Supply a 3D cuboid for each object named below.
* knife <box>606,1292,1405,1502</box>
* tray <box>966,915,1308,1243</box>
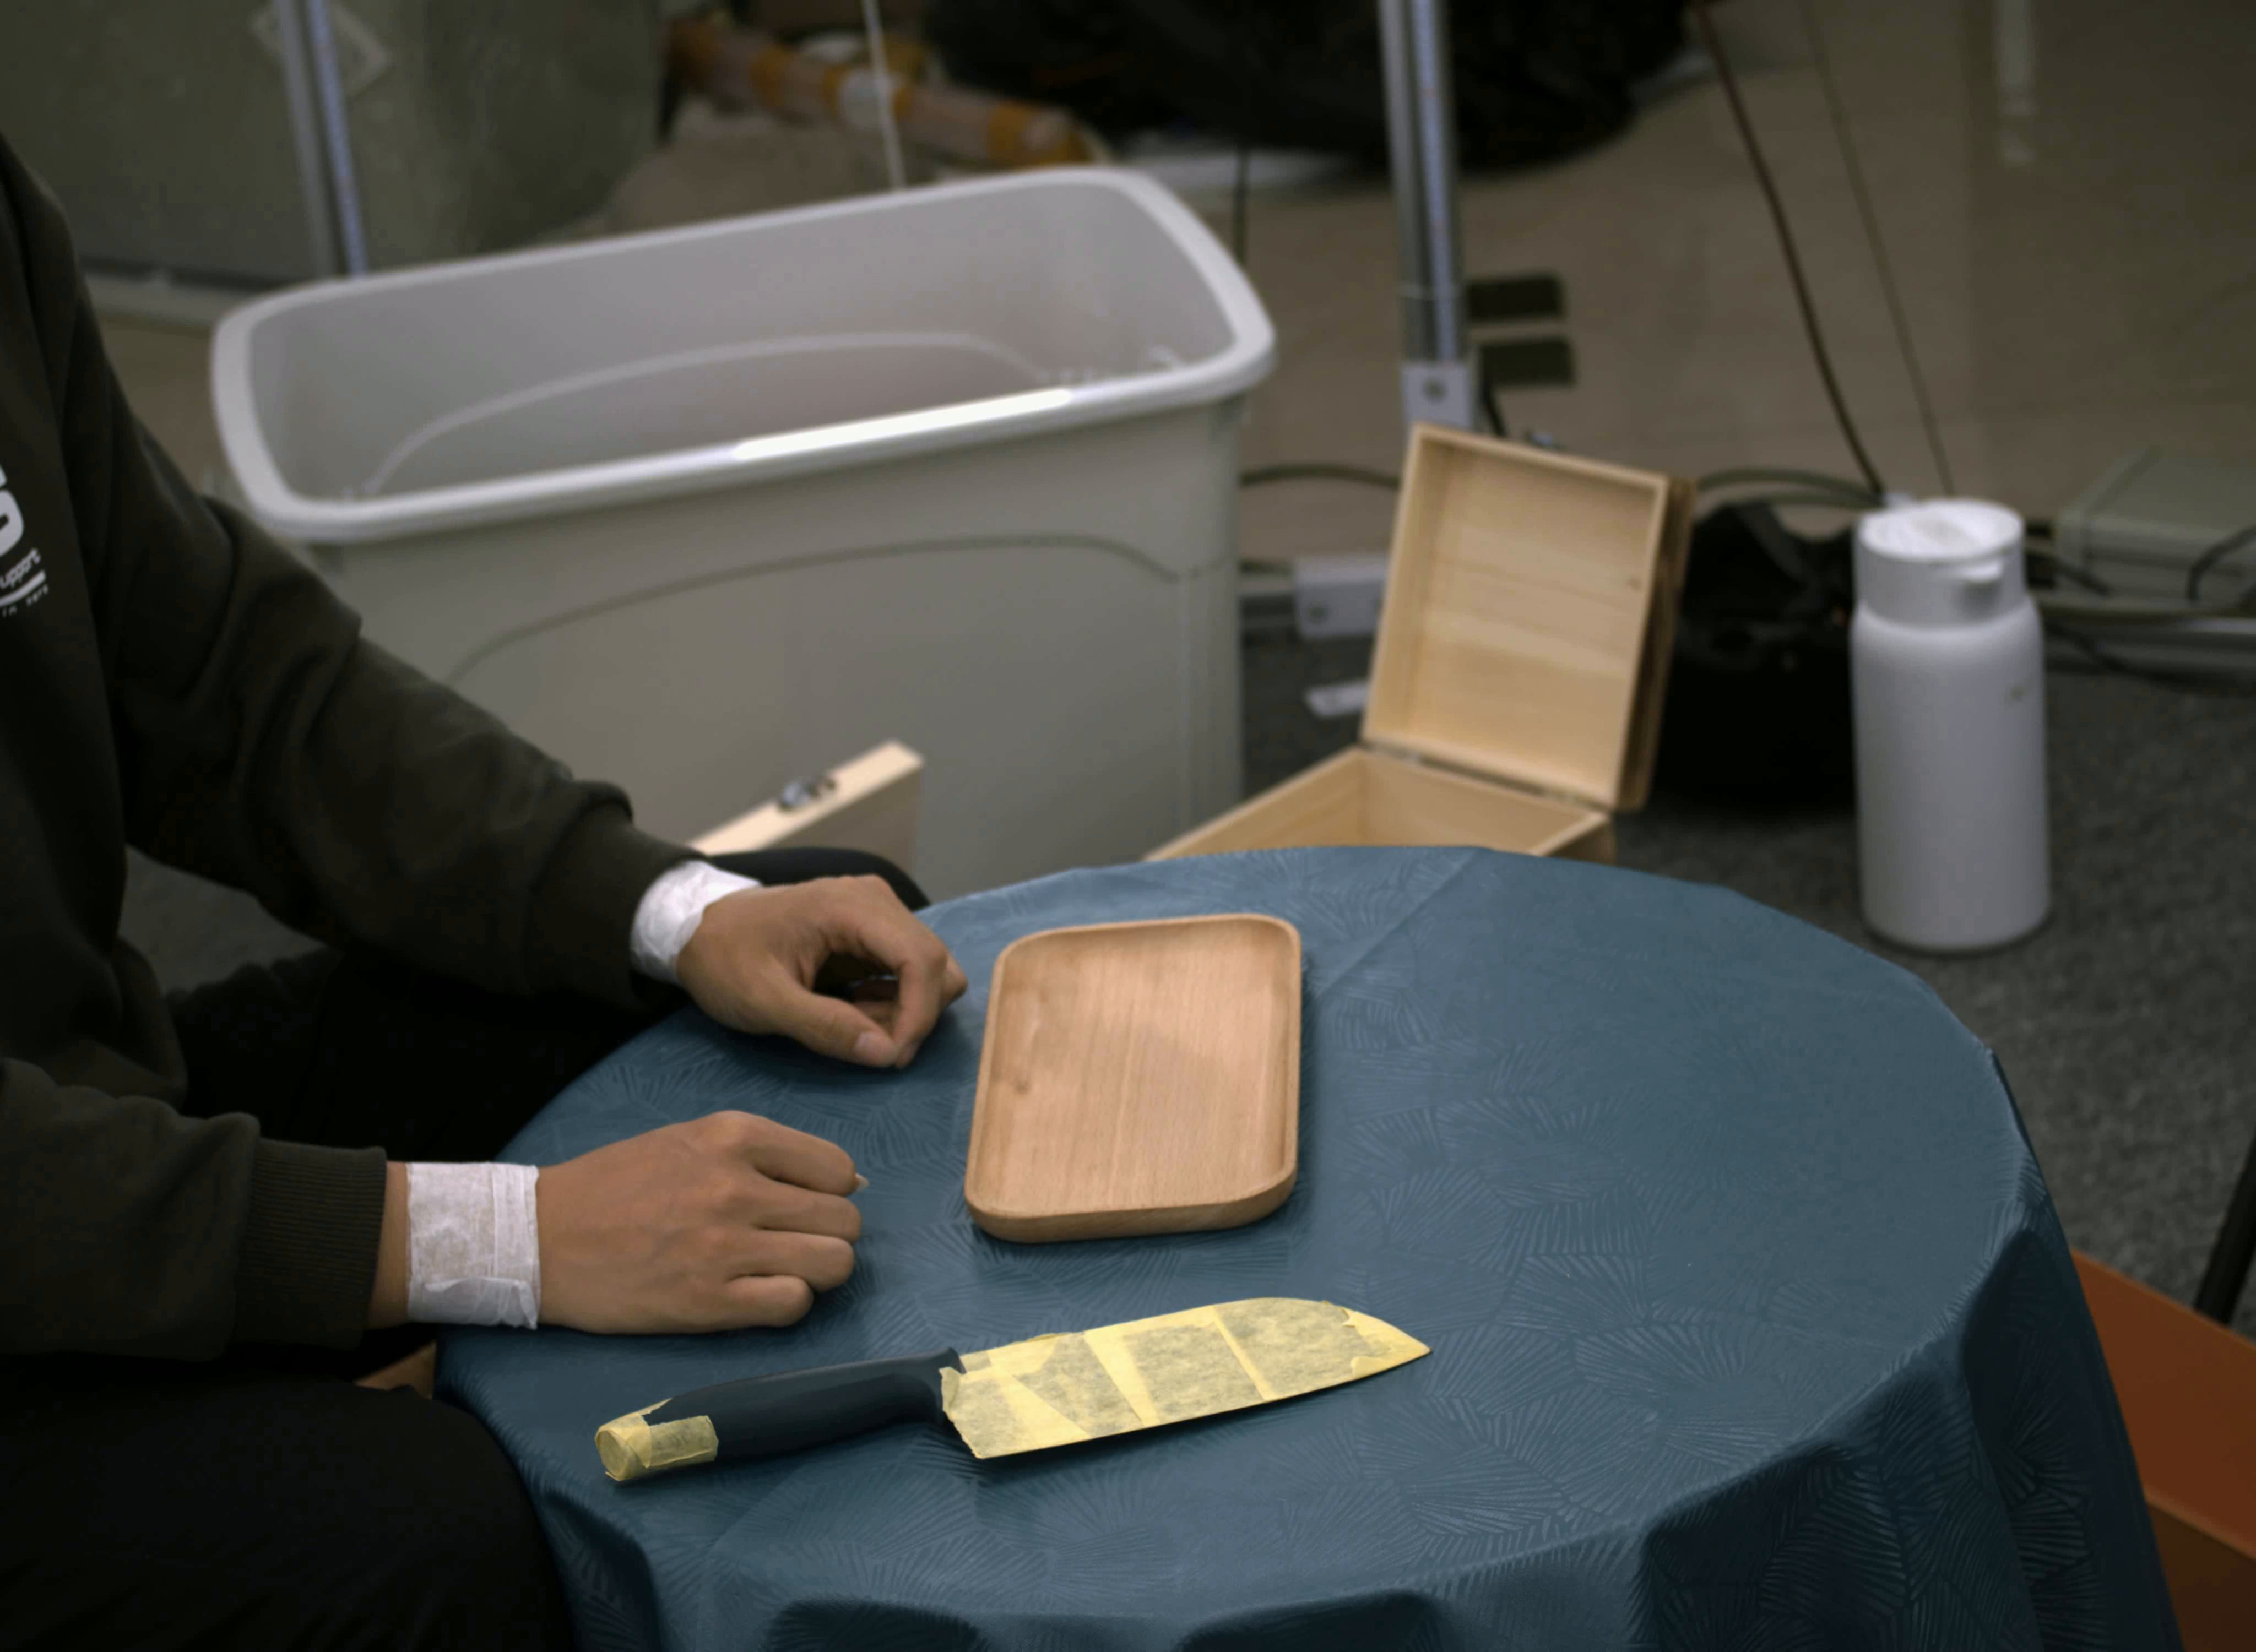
[{"bbox_3d":[-0.040,0.203,2.006,0.289,0.027,0.080,-11,23,-11],"label":"knife"},{"bbox_3d":[0.007,0.097,2.221,0.130,0.023,0.247,-7,25,6],"label":"tray"}]
